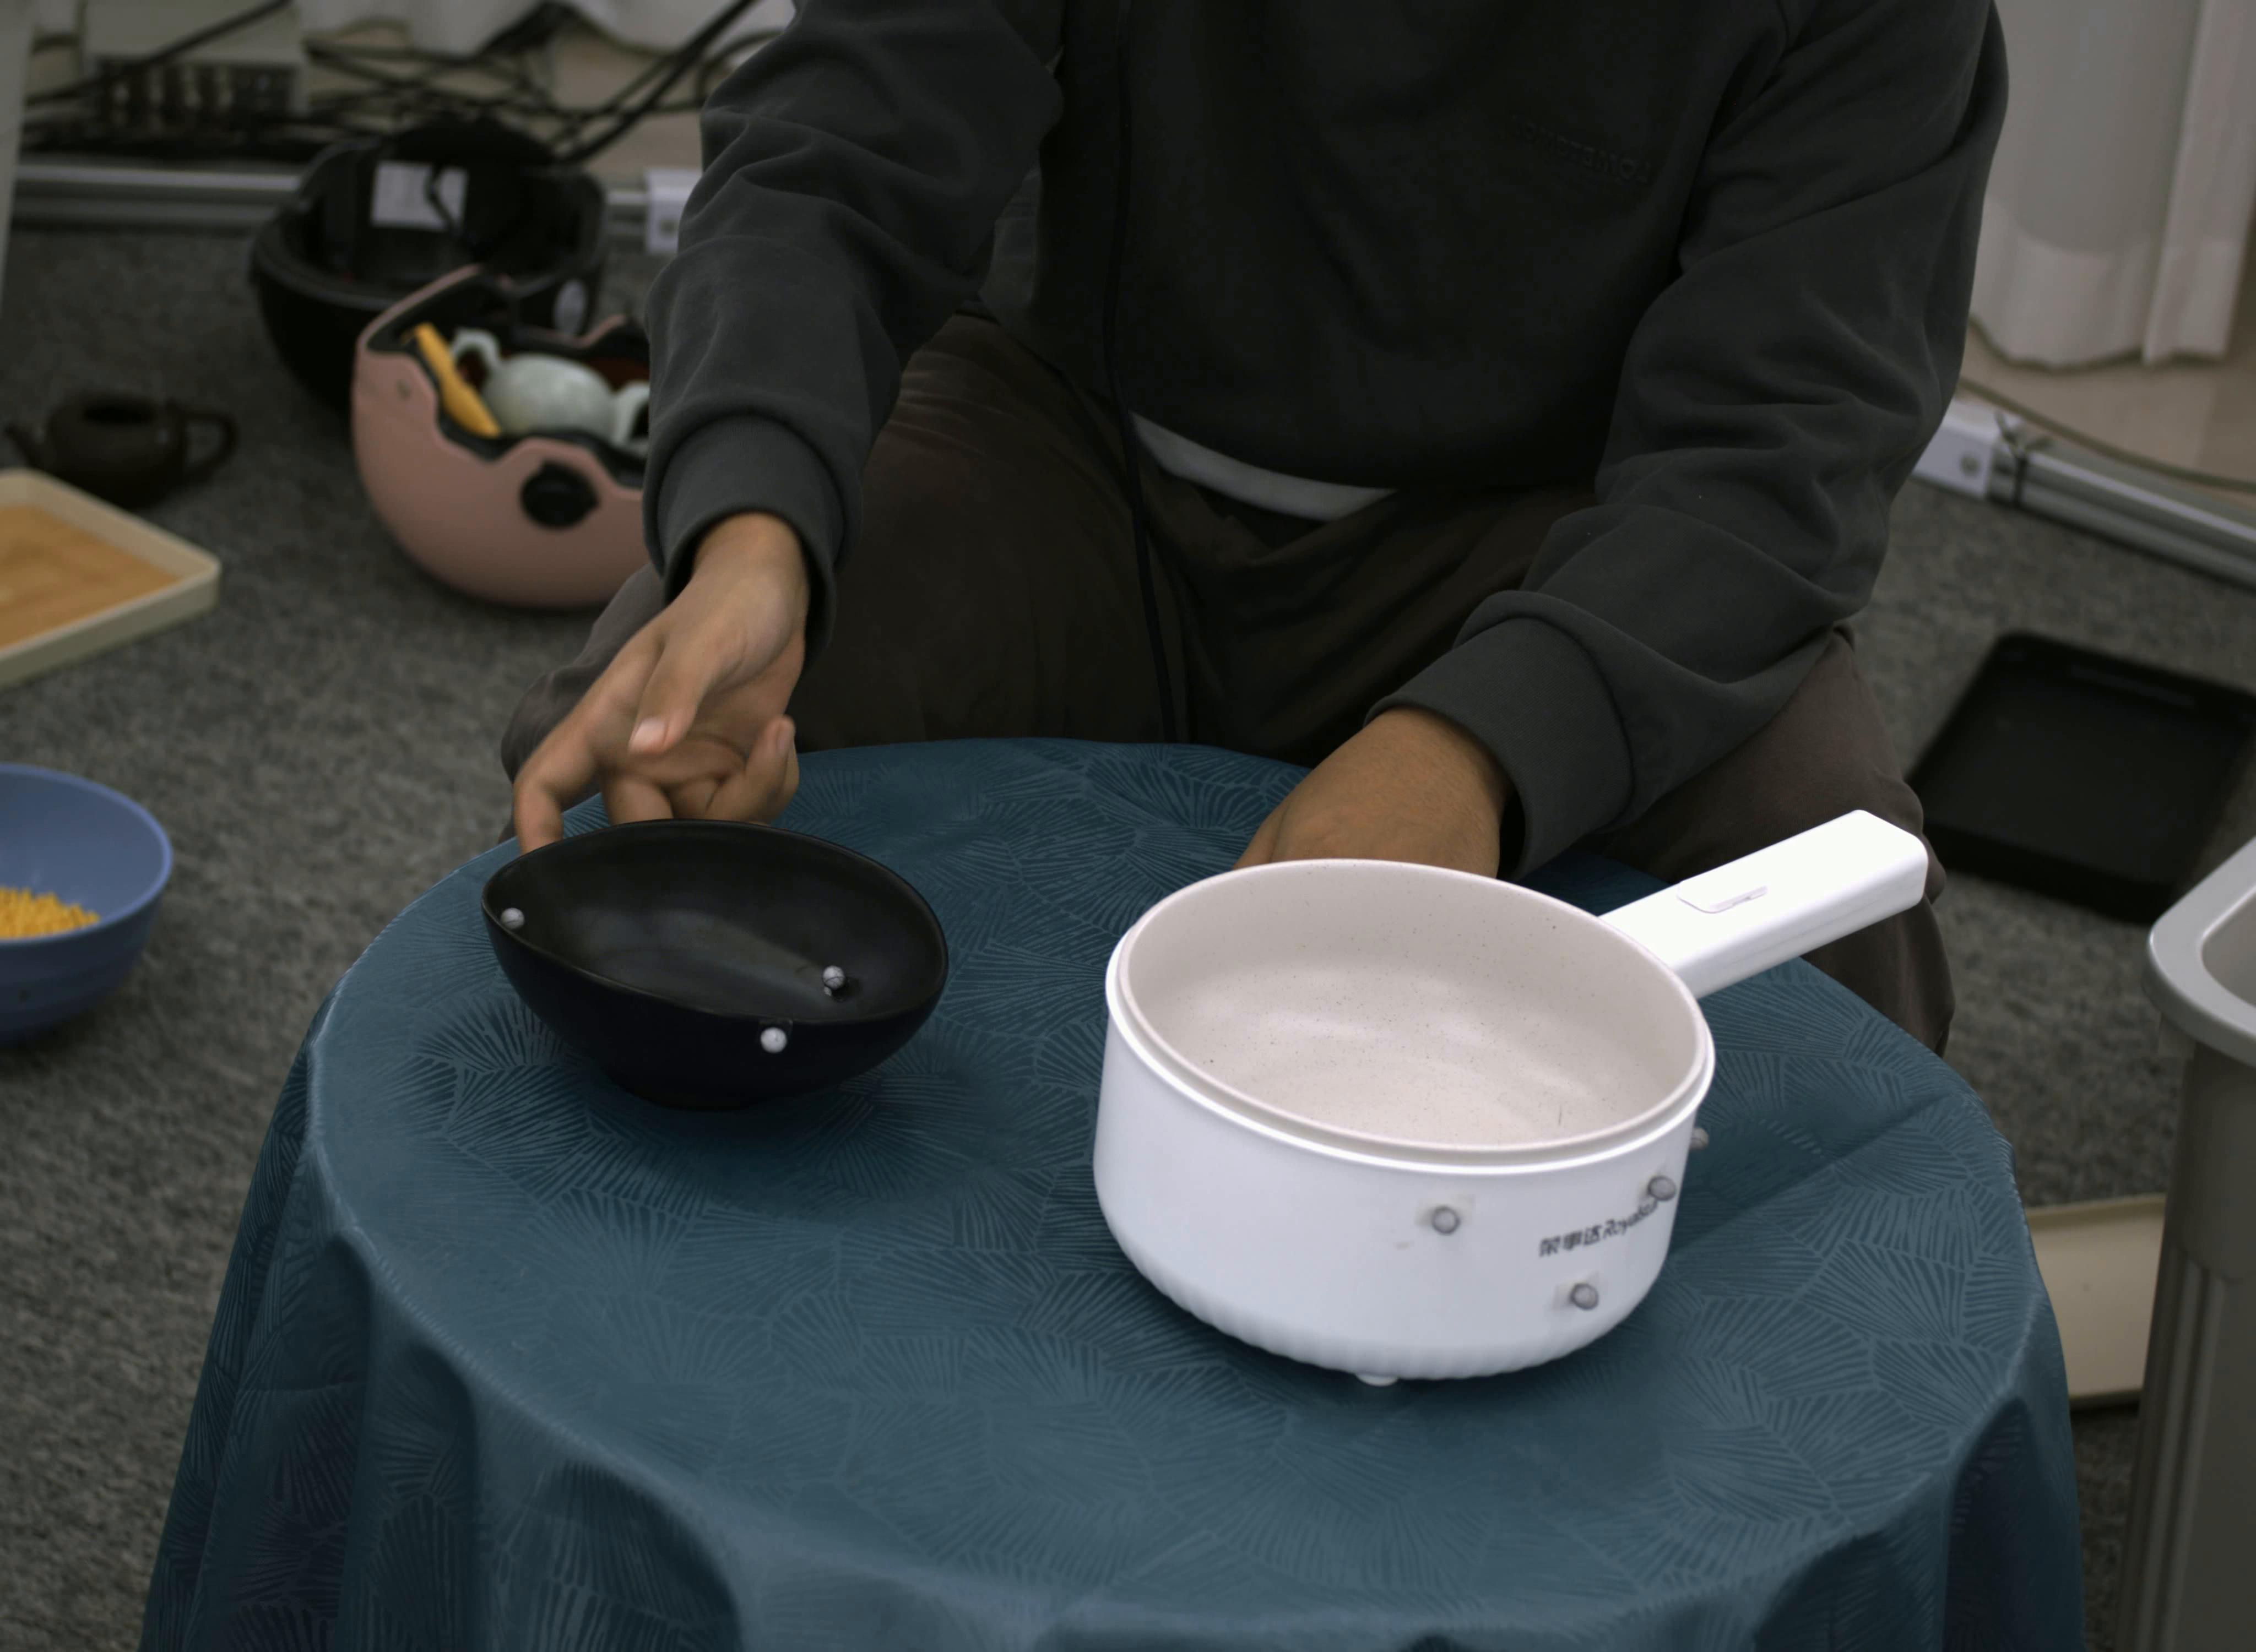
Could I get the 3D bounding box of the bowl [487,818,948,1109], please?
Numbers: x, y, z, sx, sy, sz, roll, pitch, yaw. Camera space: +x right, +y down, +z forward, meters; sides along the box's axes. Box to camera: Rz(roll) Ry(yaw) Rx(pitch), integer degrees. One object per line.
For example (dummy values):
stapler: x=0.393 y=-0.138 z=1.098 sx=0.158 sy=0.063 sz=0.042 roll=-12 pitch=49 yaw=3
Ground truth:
bowl: x=-0.145 y=0.055 z=1.835 sx=0.171 sy=0.066 sz=0.137 roll=17 pitch=28 yaw=22

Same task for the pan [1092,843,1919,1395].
pan: x=0.141 y=0.090 z=1.815 sx=0.353 sy=0.102 sz=0.203 roll=-17 pitch=31 yaw=-42
